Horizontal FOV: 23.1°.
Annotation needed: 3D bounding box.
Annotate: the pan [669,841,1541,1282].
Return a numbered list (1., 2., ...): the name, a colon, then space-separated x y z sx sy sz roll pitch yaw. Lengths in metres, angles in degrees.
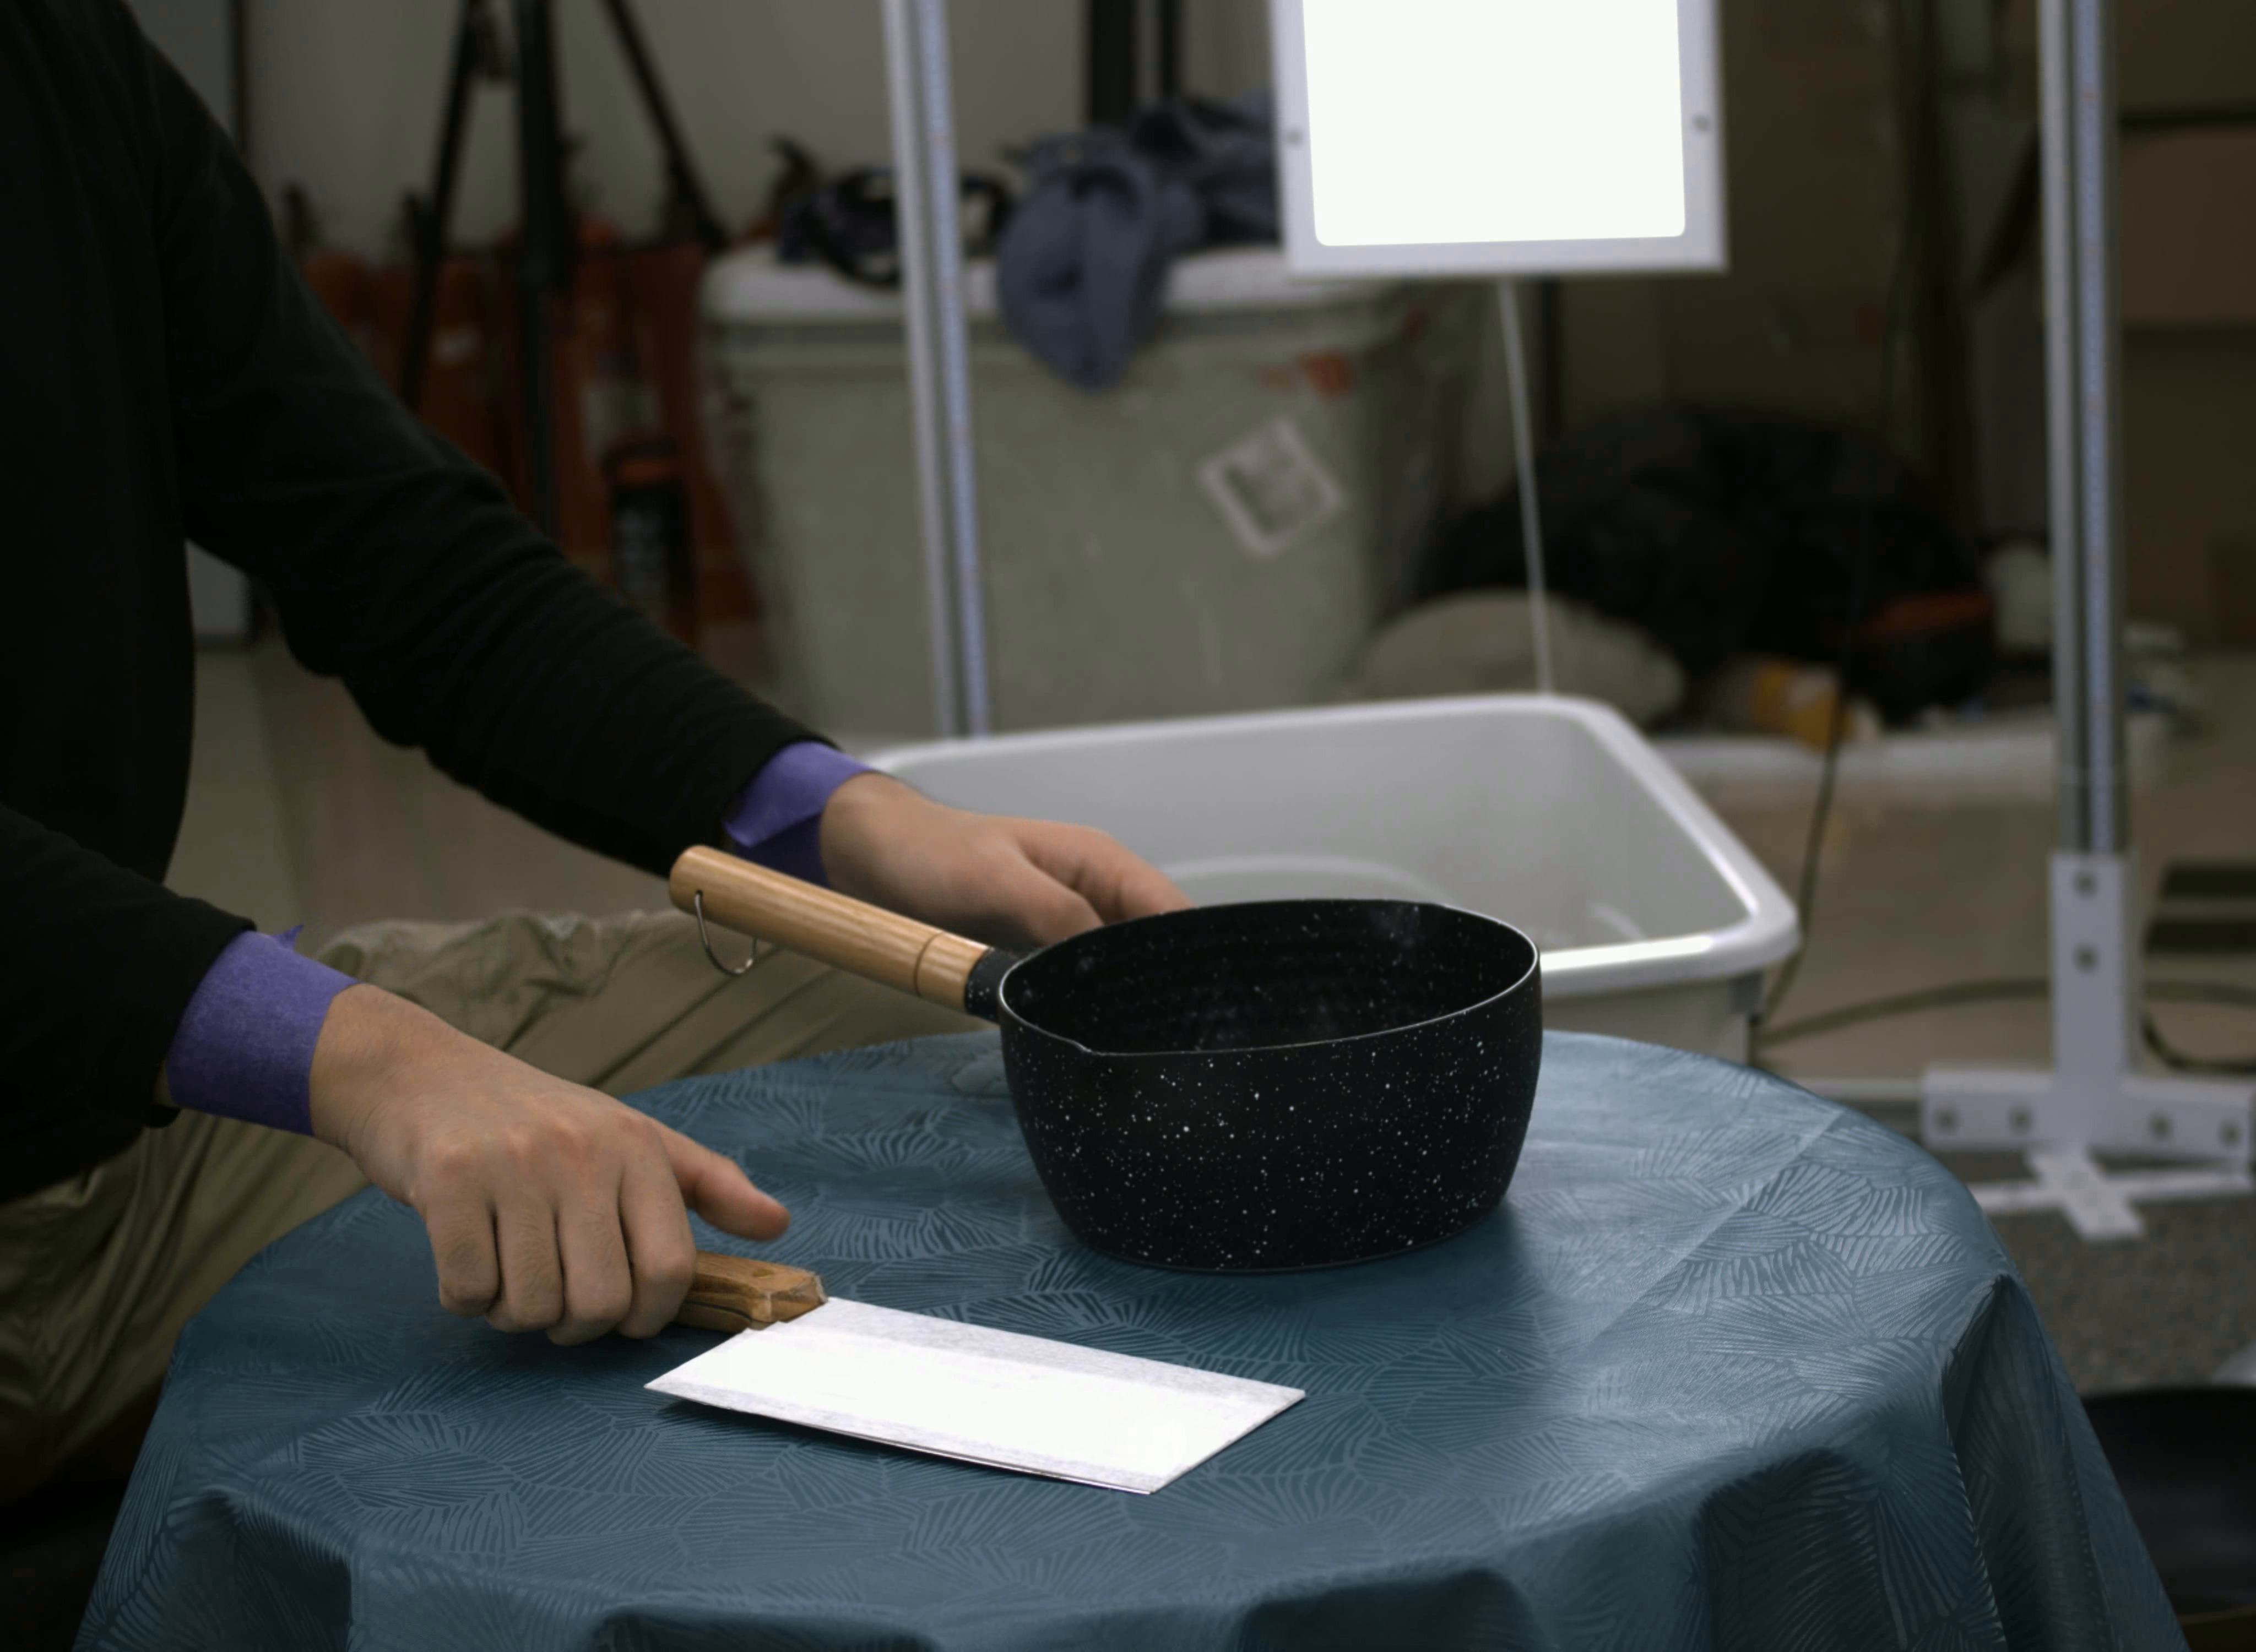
1. pan: -0.018 0.073 1.901 0.349 0.108 0.202 6 18 33

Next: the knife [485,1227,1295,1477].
1. knife: -0.094 0.168 1.735 0.312 0.021 0.090 8 19 35
